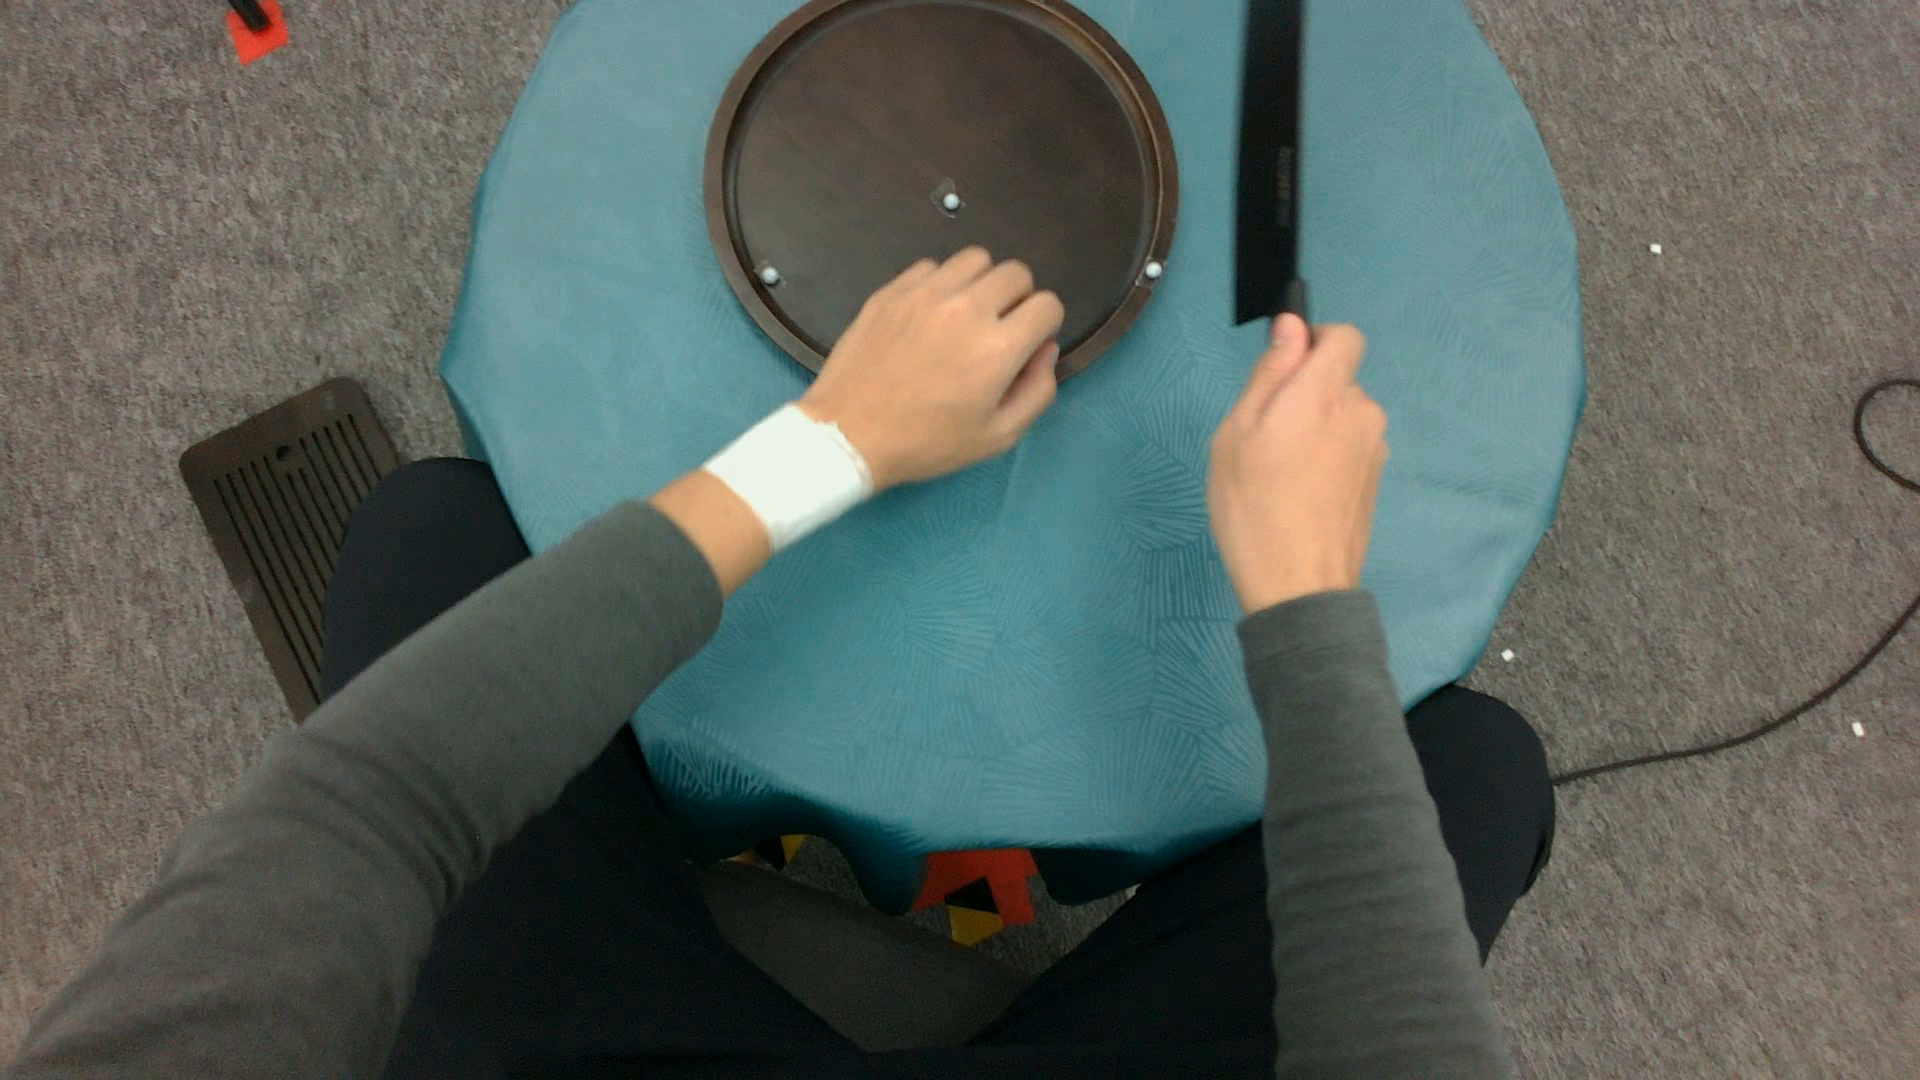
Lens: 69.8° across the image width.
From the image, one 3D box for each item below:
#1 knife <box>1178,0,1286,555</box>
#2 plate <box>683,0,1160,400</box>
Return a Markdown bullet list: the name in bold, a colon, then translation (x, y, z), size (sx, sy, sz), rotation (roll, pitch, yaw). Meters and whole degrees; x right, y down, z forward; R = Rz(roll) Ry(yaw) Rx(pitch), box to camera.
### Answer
- **knife**: translation (0.123, -0.144, 0.644), size (0.021, 0.081, 0.302), rotation (-3, 84, -16)
- **plate**: translation (-0.020, -0.194, 0.737), size (0.255, 0.029, 0.255), rotation (1, 78, -5)
